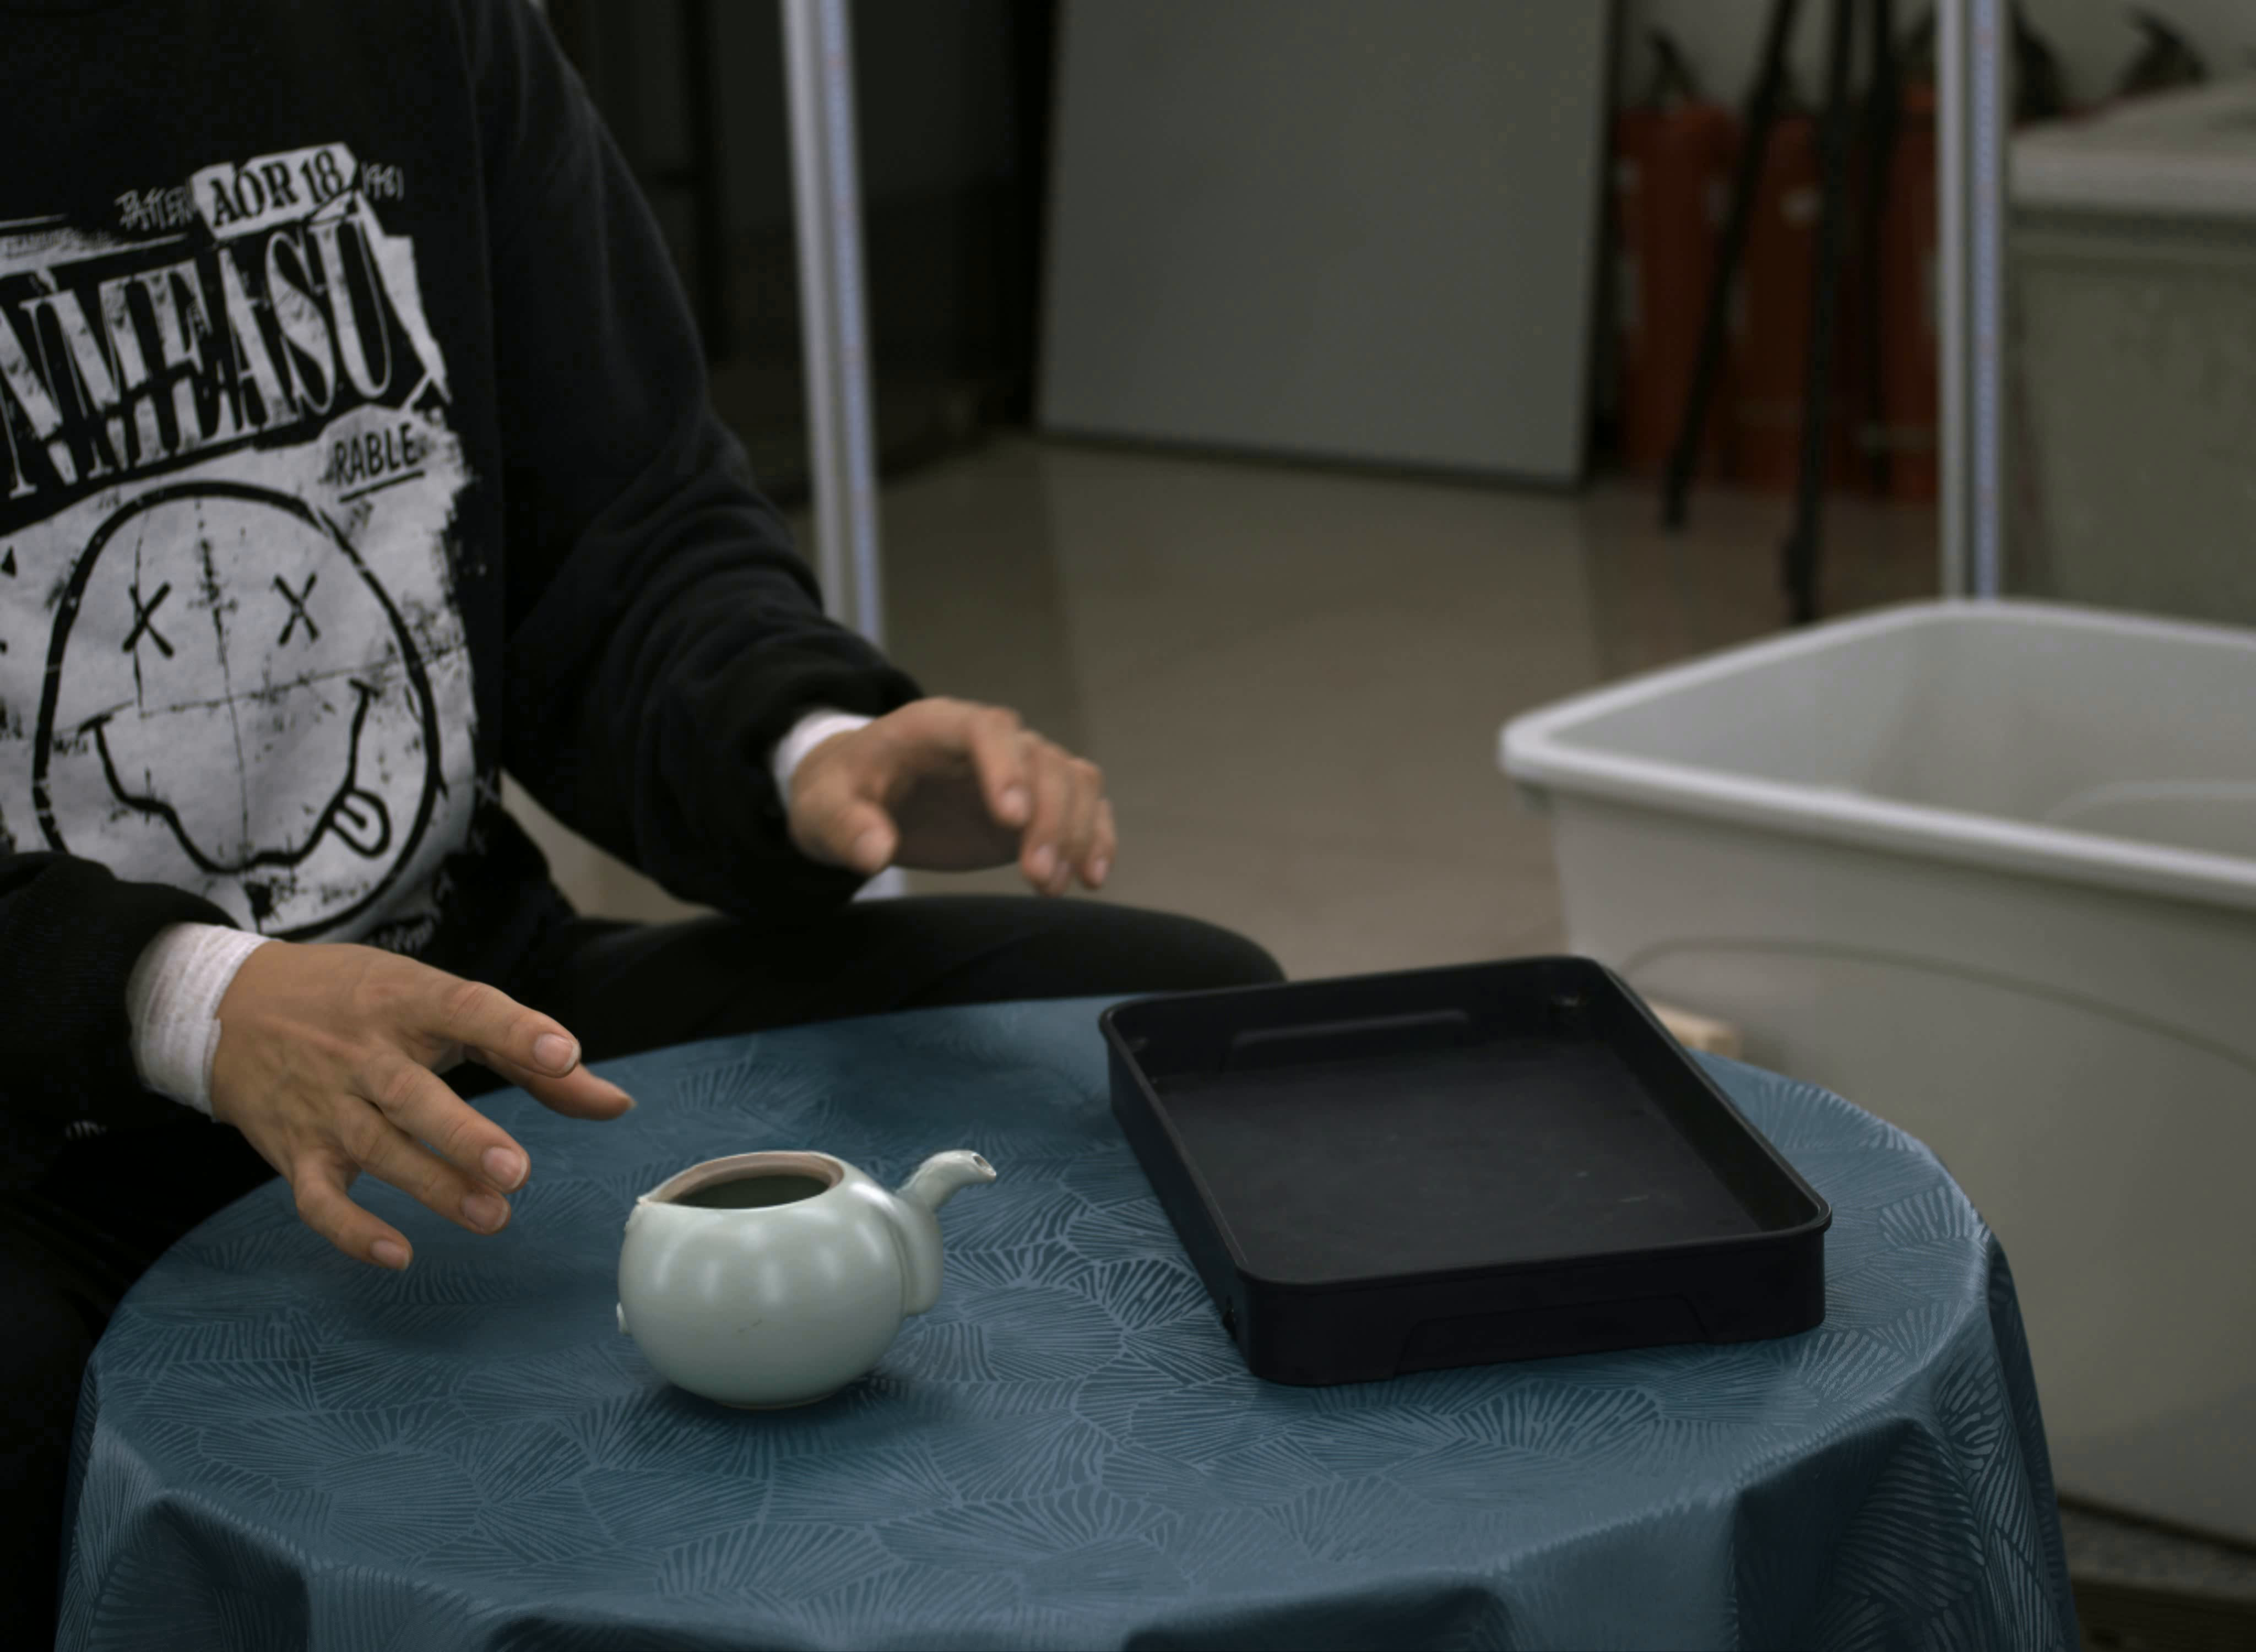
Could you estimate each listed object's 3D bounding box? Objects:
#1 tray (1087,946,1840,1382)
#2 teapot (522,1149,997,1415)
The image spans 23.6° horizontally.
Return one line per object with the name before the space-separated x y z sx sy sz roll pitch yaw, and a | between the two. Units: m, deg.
tray | 0.101 0.104 1.739 0.181 0.037 0.320 -7 14 -9
teapot | -0.108 0.133 1.606 0.142 0.075 0.088 -1 14 7
